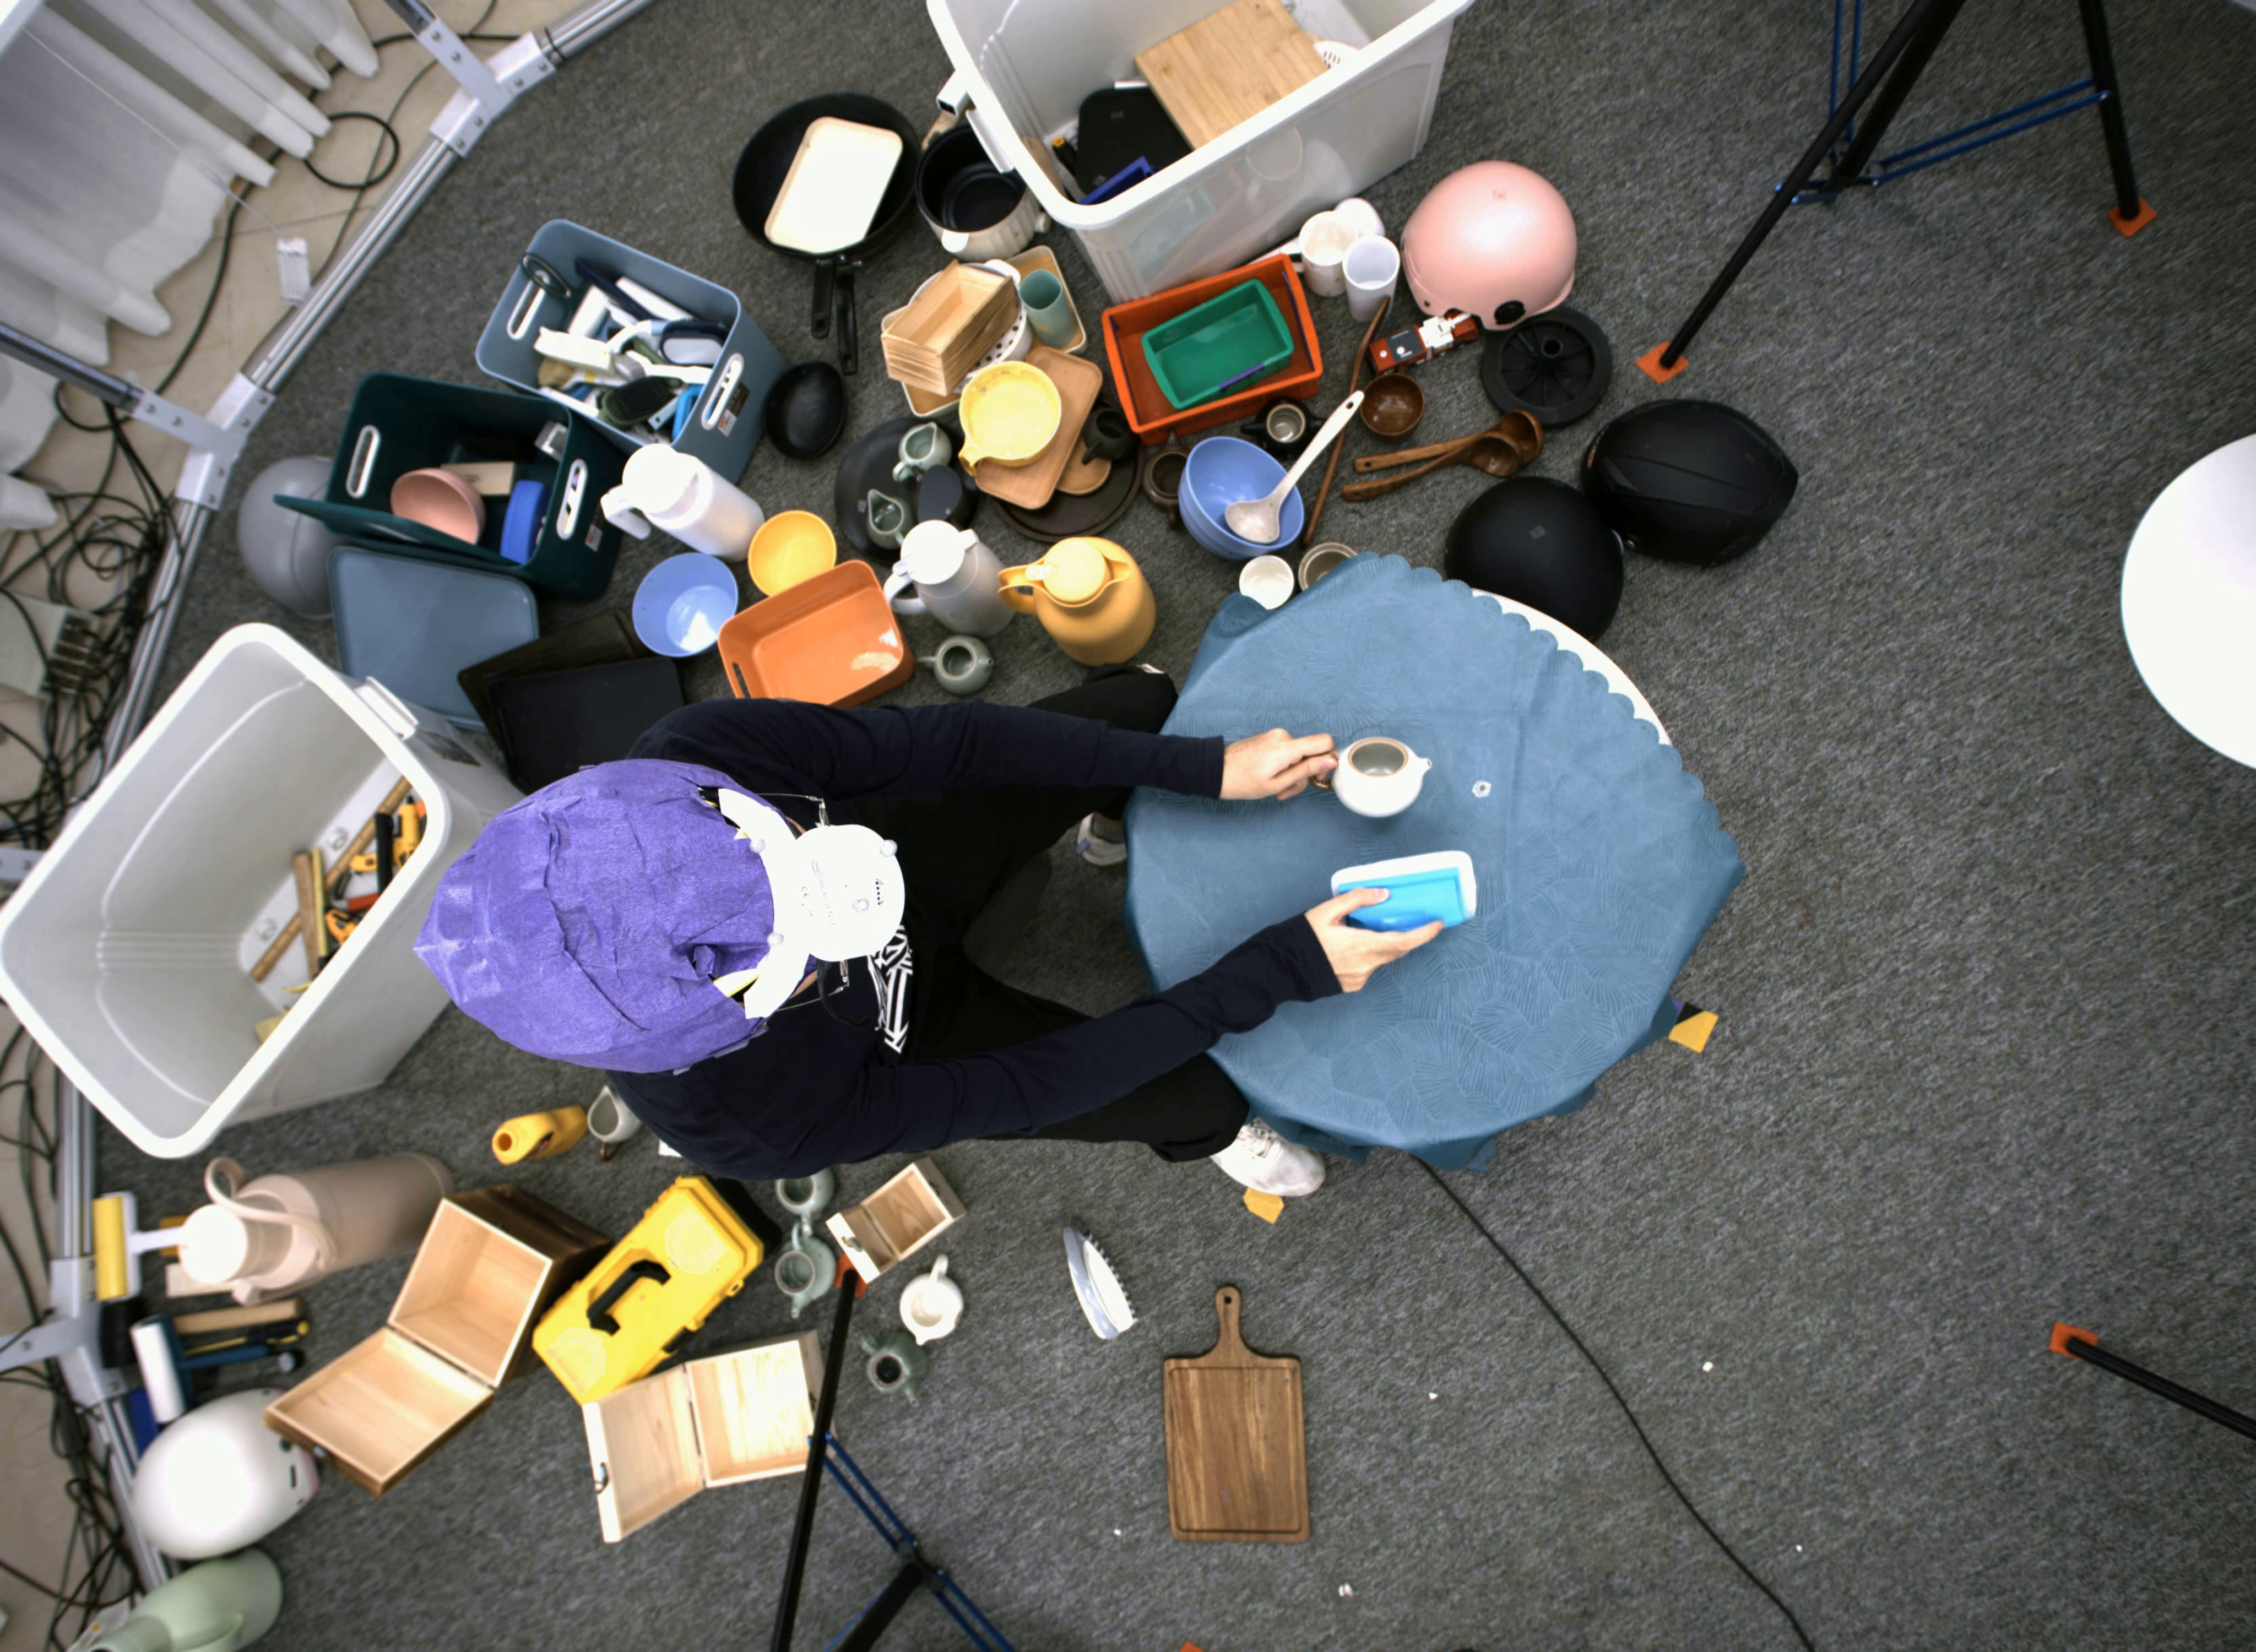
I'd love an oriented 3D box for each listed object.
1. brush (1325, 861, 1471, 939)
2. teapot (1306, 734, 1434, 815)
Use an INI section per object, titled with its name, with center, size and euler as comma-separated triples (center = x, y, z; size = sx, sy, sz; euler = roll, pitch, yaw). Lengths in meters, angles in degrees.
[brush]
center = 0.270, 0.081, 1.376
size = 0.144, 0.054, 0.085
euler = -7, 126, 9
[teapot]
center = 0.246, -0.054, 1.405
size = 0.128, 0.061, 0.089
euler = 4, 50, 12
